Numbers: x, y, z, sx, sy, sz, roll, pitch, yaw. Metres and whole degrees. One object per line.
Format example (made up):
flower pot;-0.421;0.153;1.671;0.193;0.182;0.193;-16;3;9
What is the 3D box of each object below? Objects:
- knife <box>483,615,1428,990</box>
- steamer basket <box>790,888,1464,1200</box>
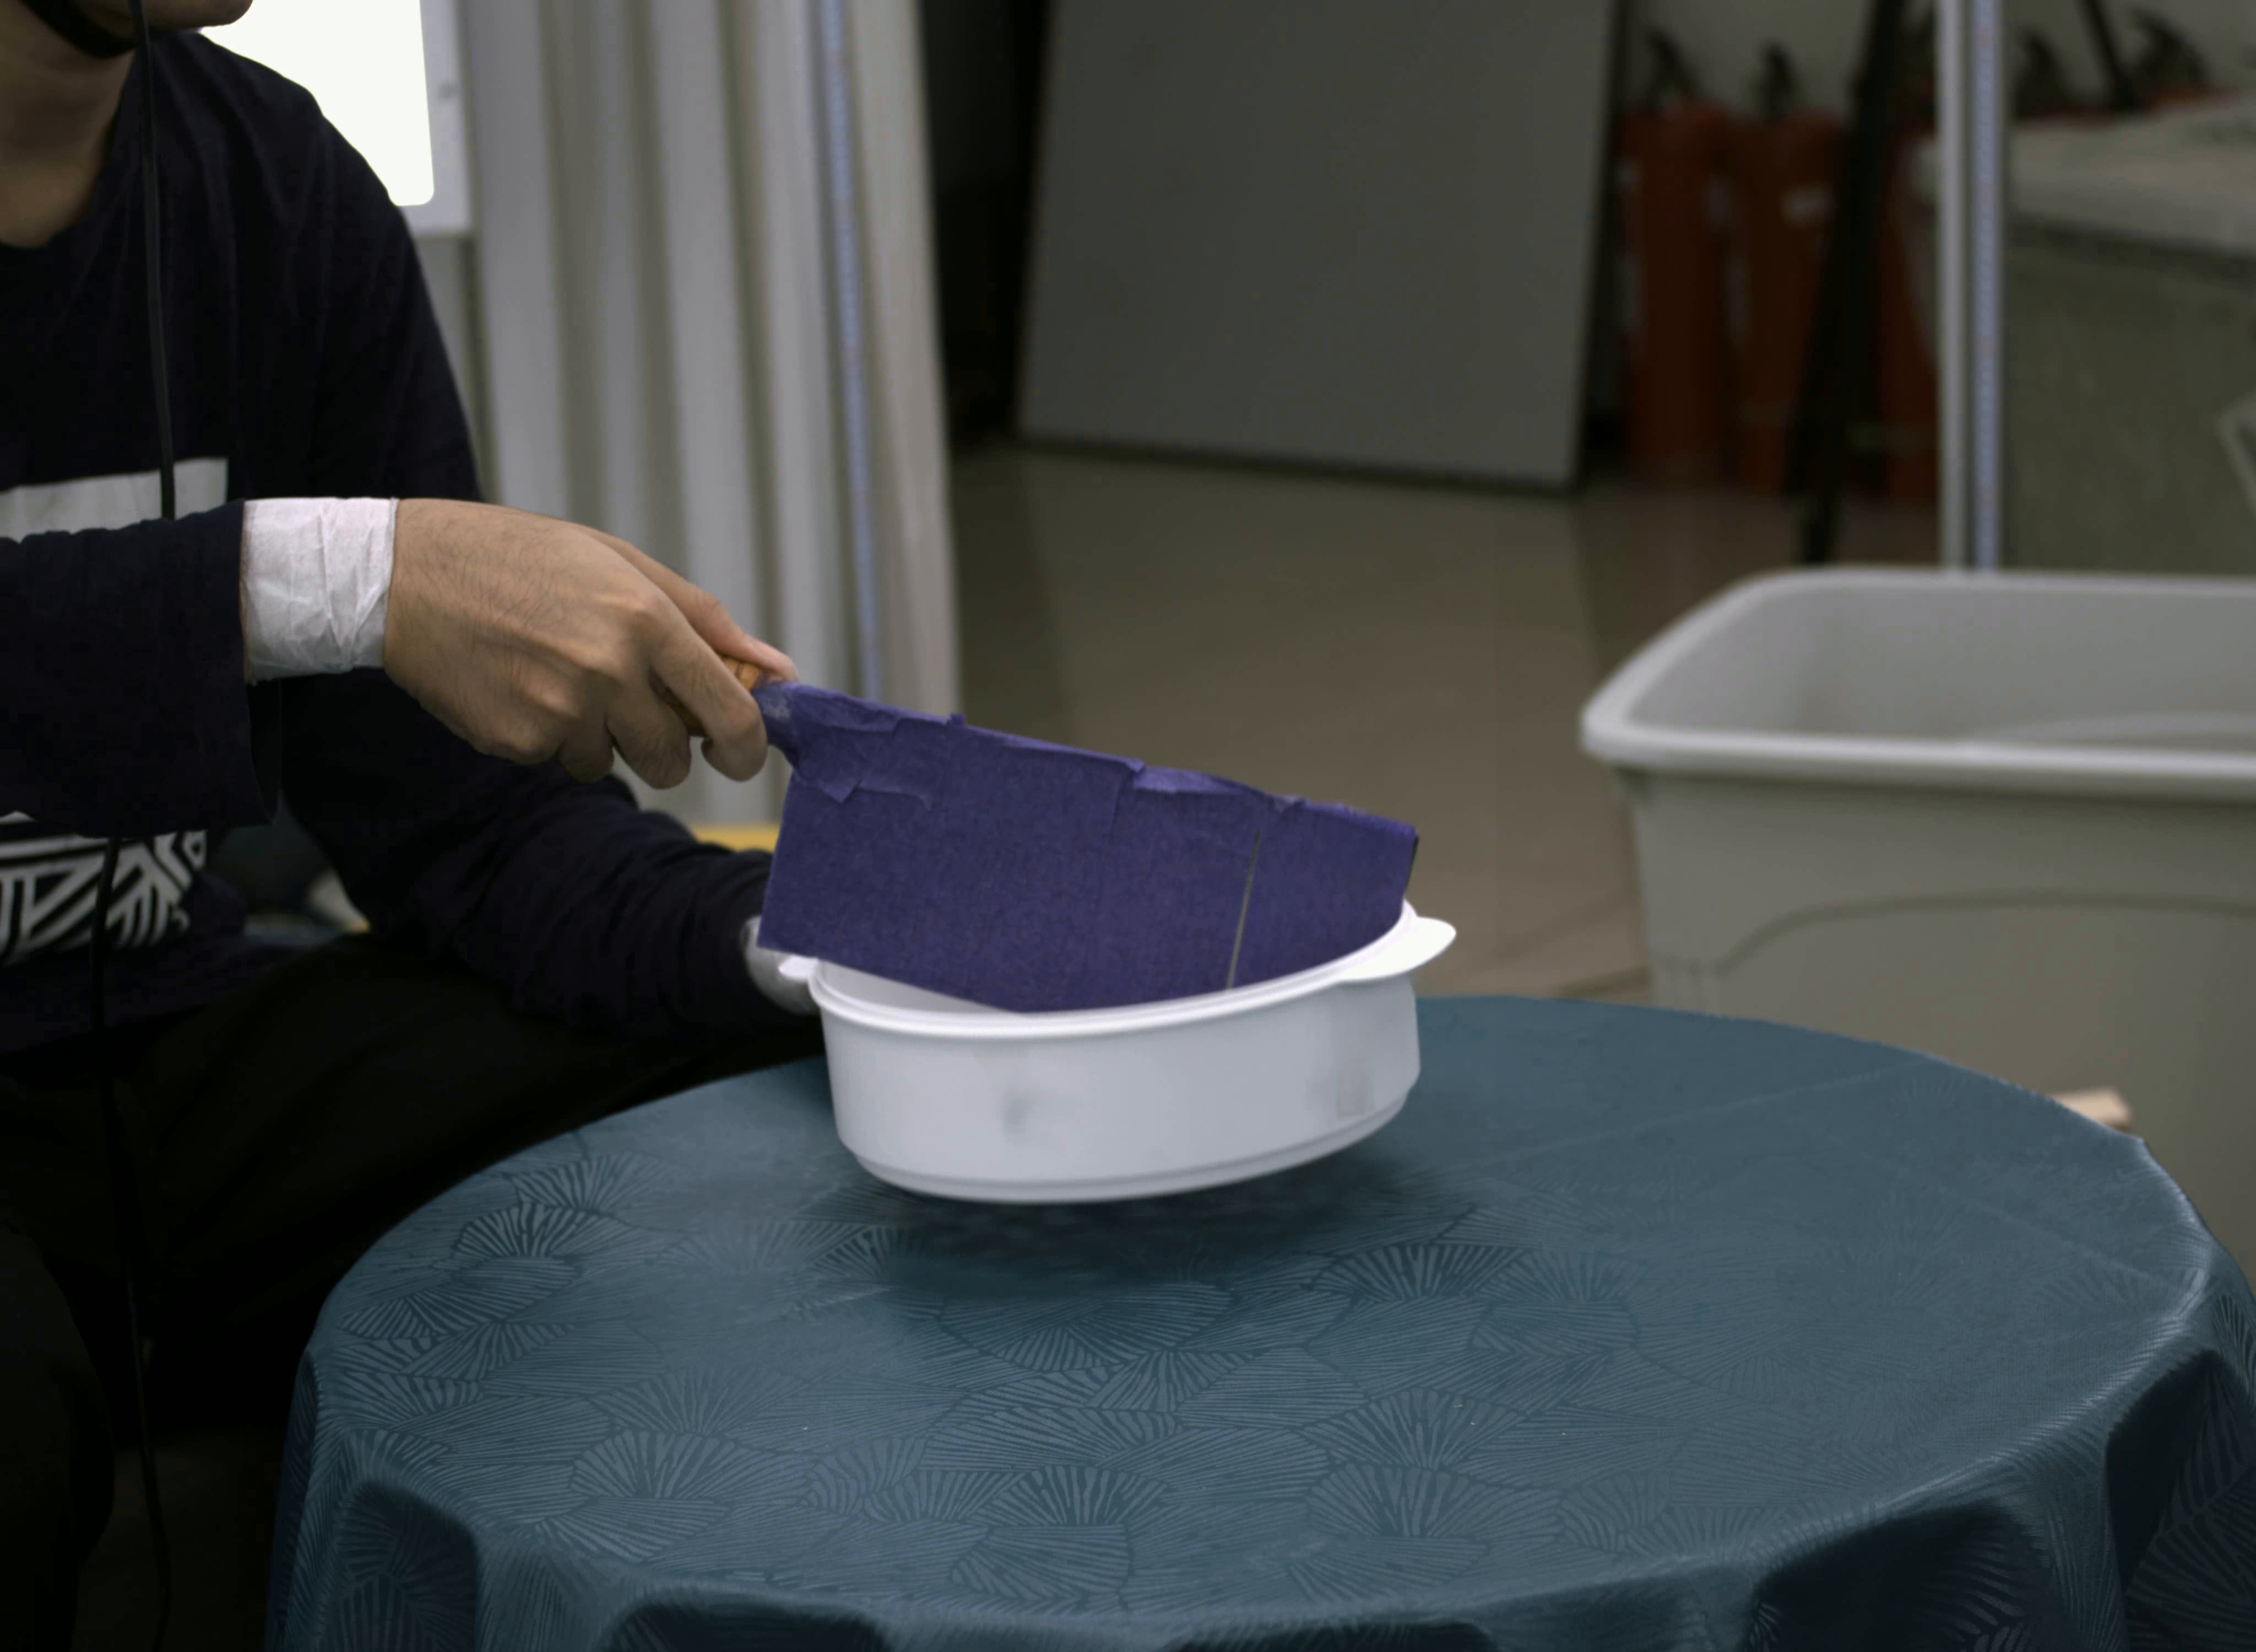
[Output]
knife;-0.062;0.005;1.752;0.313;0.105;0.032;12;9;7
steamer basket;0.002;0.068;1.758;0.231;0.070;0.199;-4;10;25
